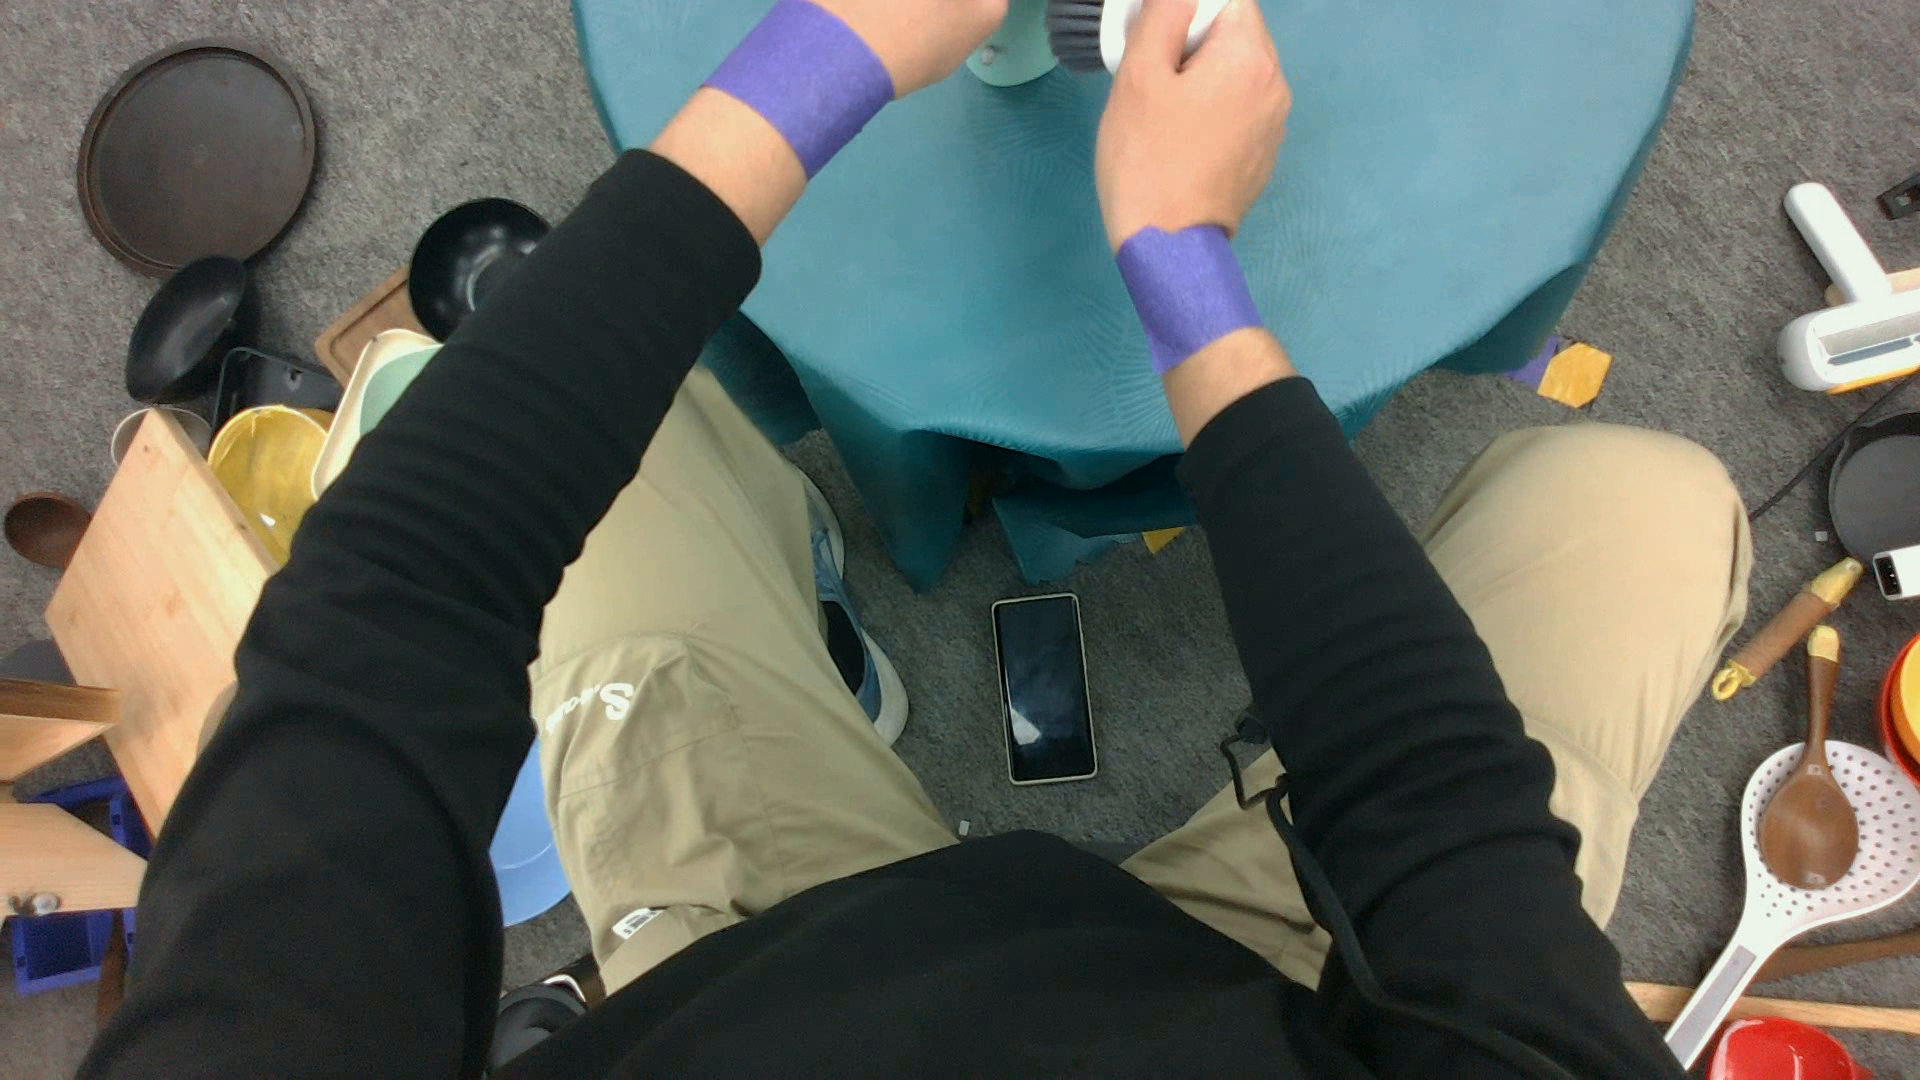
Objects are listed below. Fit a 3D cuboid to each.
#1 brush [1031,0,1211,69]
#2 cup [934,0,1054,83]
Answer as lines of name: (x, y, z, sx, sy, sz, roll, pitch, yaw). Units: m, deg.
brush: (0.081, -0.259, 0.615, 0.072, 0.050, 0.099, 16, 84, 26)
cup: (0.016, -0.284, 0.677, 0.067, 0.132, 0.067, -1, 83, 5)
